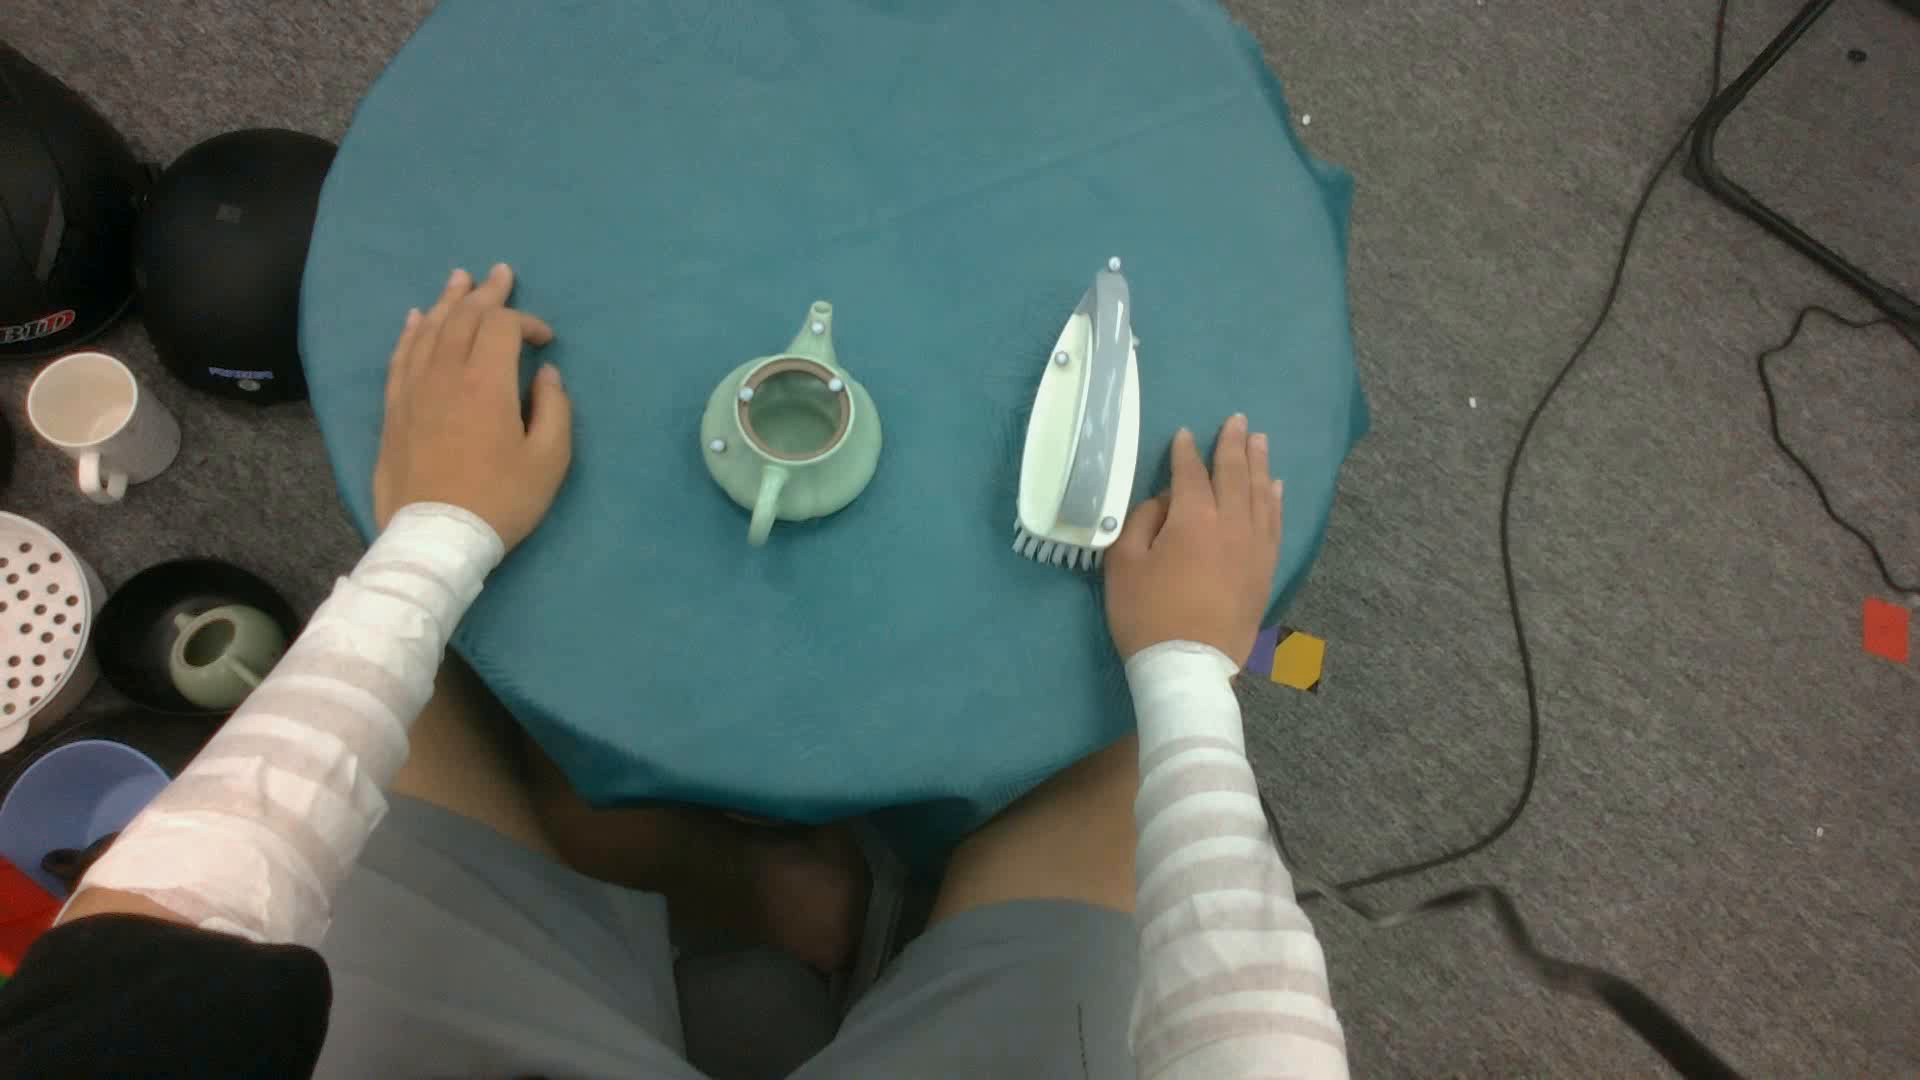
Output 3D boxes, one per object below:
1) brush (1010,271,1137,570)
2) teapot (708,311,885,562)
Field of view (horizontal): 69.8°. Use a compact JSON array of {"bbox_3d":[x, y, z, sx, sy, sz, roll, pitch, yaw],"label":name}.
[{"bbox_3d":[0.071,-0.079,0.757,0.061,0.094,0.176,12,69,-7],"label":"brush"},{"bbox_3d":[-0.088,-0.050,0.741,0.096,0.061,0.137,11,70,-7],"label":"teapot"}]
